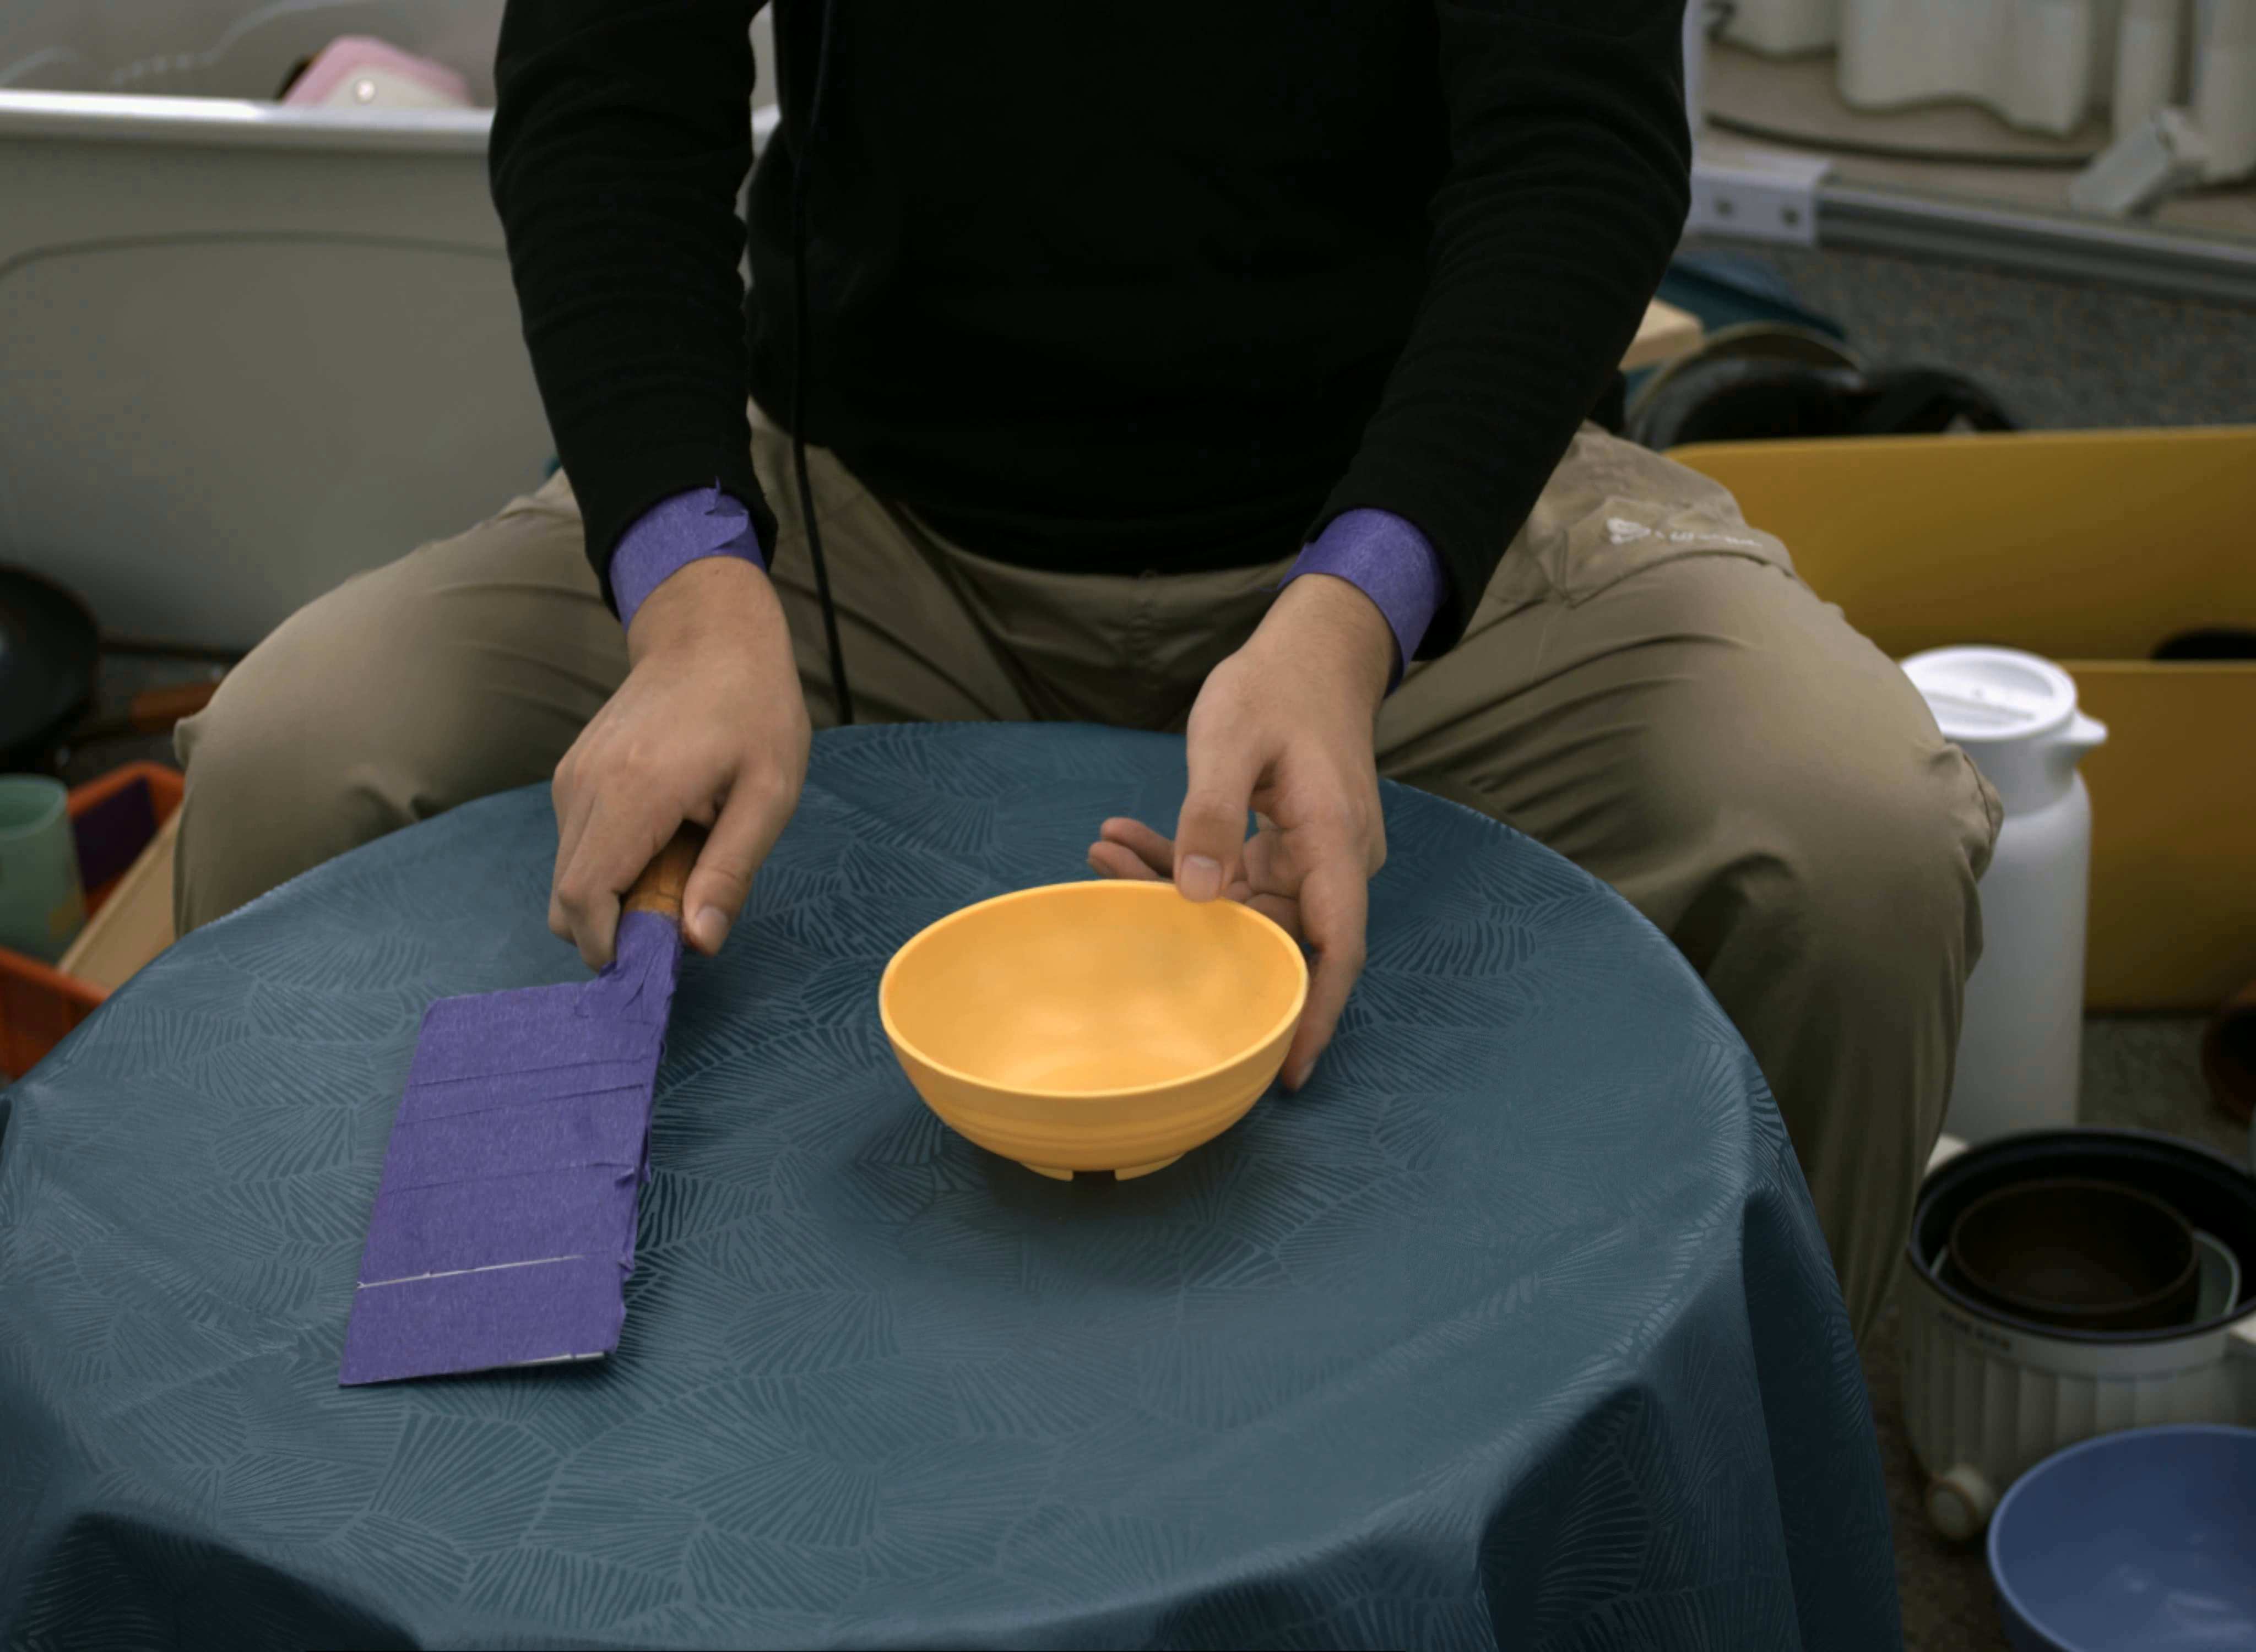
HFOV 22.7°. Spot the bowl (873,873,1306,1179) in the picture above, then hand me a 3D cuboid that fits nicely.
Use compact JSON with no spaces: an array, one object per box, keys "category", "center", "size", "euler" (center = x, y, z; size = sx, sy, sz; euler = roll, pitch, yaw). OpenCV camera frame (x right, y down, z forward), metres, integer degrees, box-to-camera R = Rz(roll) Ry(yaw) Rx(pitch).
[{"category":"bowl","center":[-0.012,0.076,1.882],"size":[0.144,0.059,0.147],"euler":[-1,28,1]}]

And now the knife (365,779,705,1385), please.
[{"category":"knife","center":[-0.200,0.082,1.896],"size":[0.103,0.032,0.321],"euler":[-7,31,6]}]
